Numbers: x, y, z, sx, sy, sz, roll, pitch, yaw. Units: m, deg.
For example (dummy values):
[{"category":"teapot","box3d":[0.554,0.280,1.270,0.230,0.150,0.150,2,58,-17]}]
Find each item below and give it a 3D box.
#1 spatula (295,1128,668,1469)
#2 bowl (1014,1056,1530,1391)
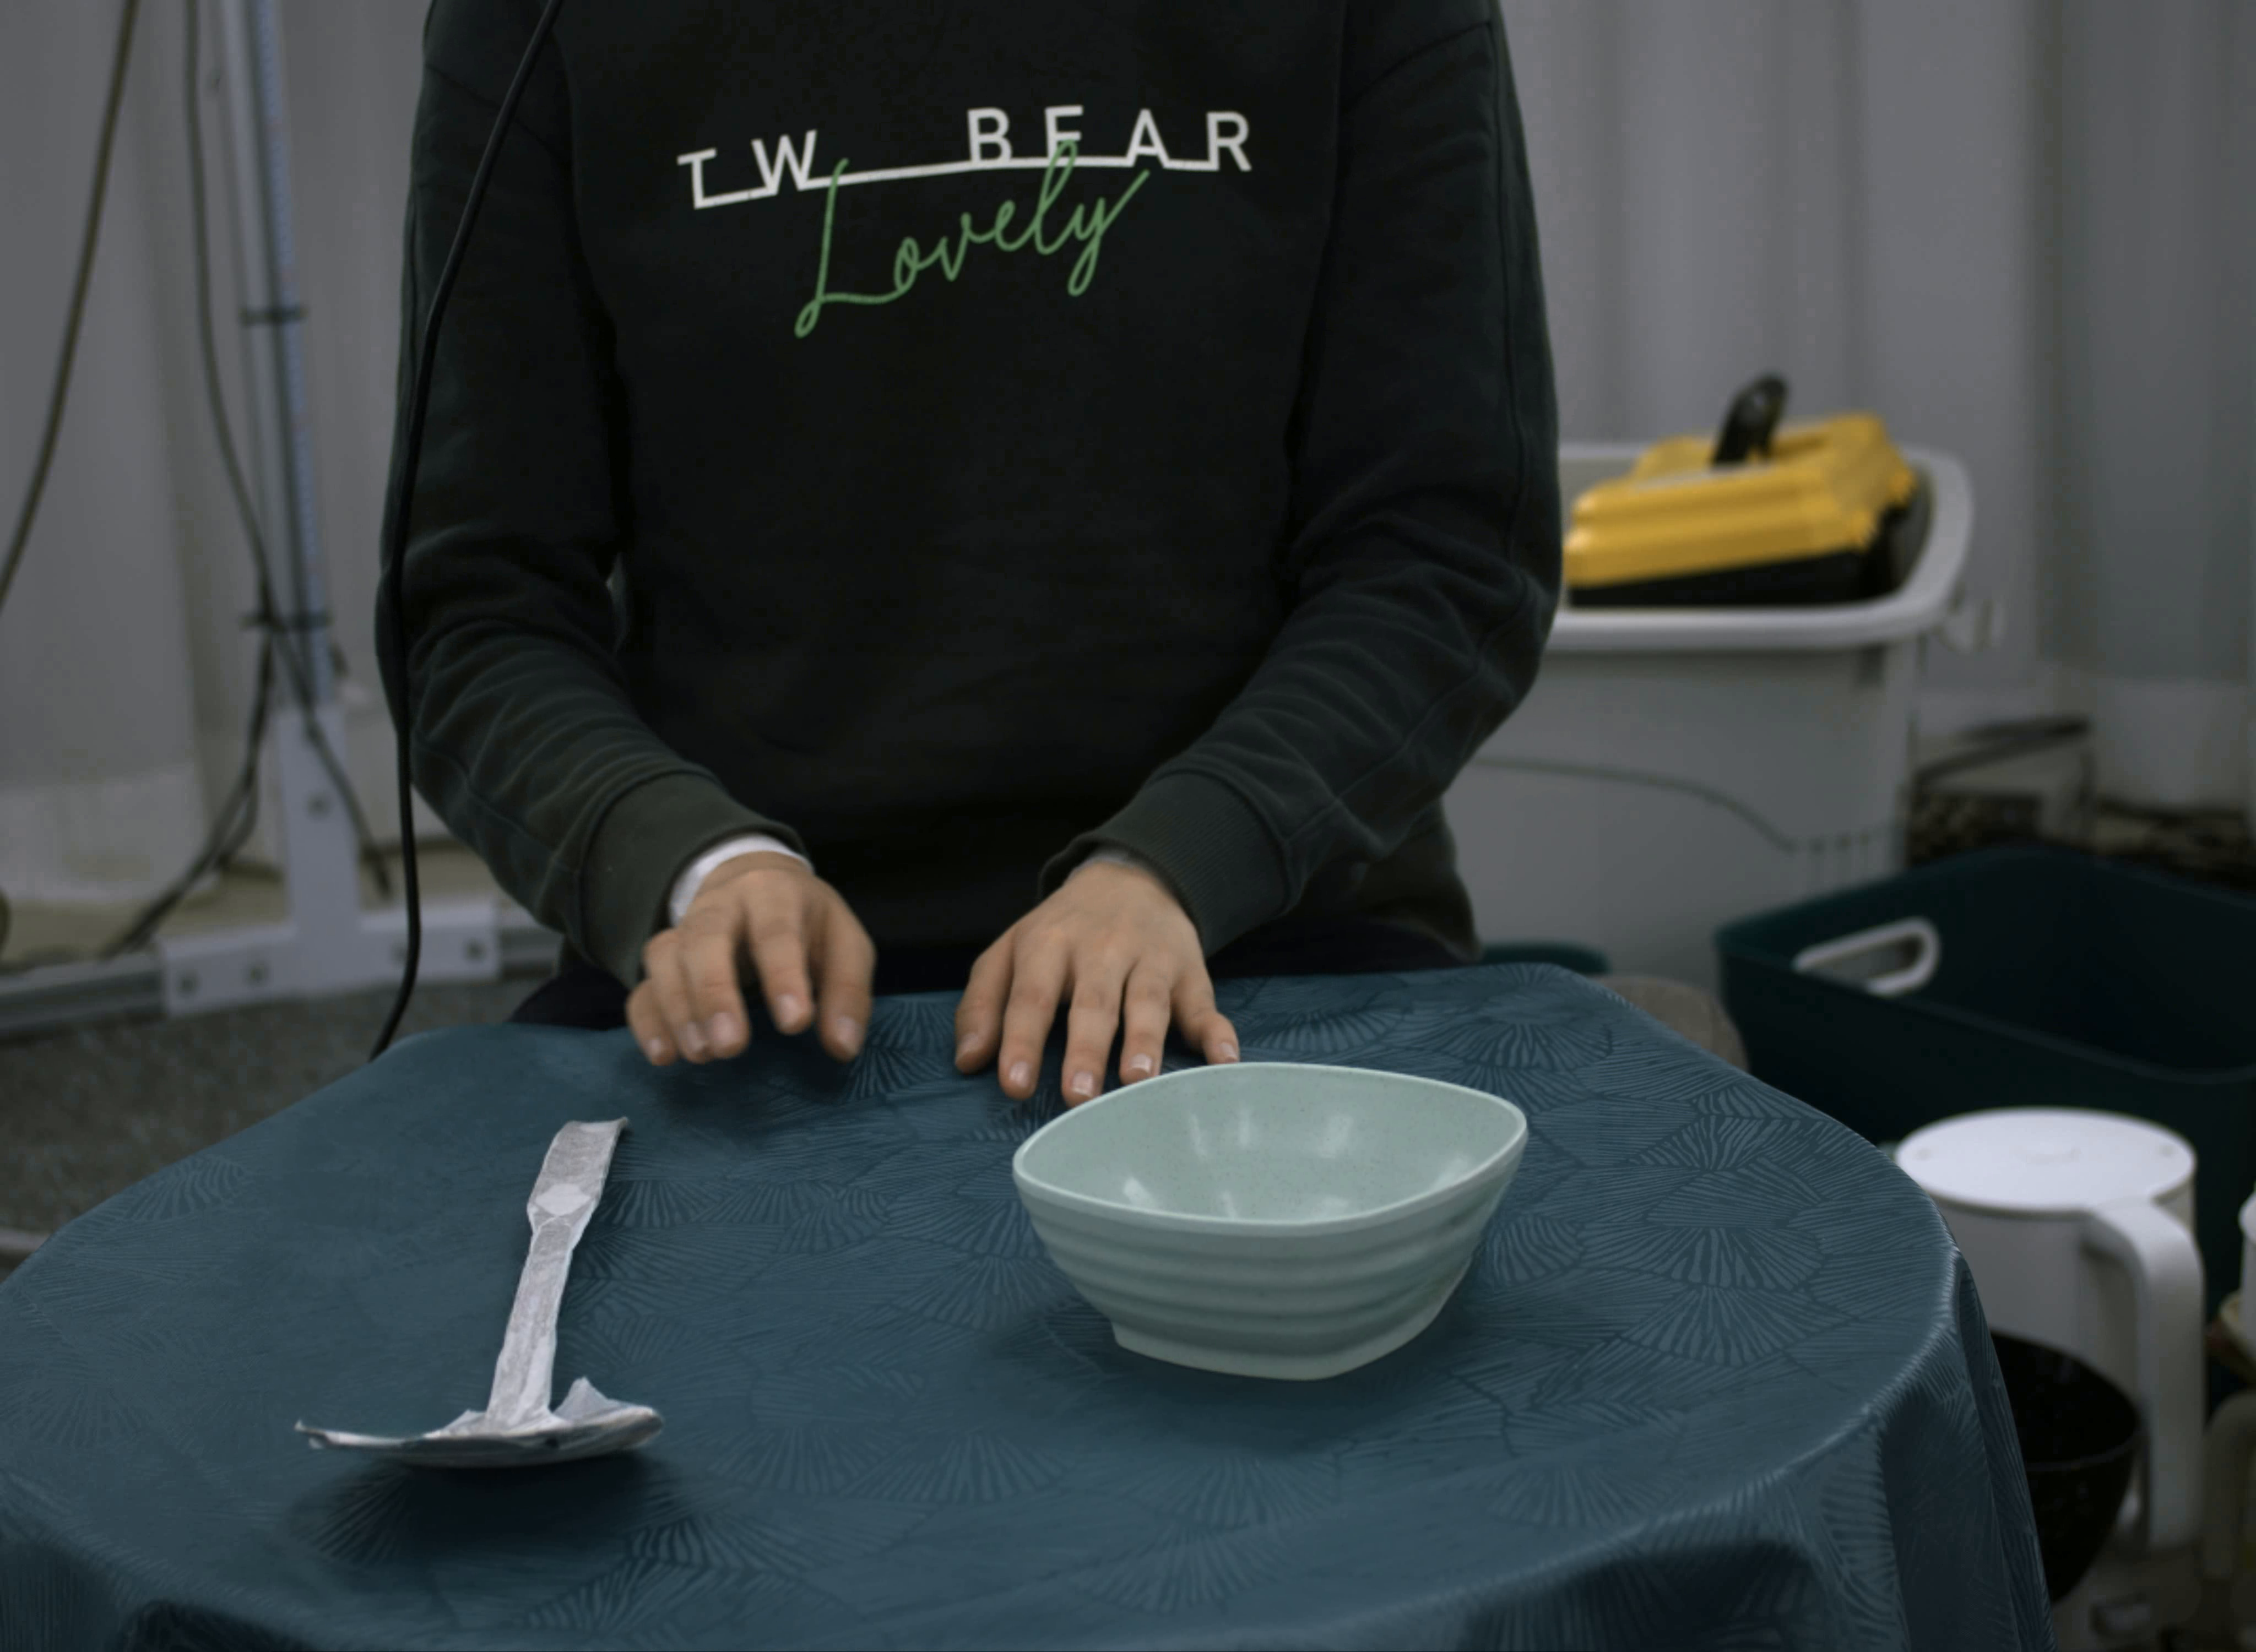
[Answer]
[{"category":"spatula","box3d":[-0.169,0.130,1.613,0.098,0.044,0.367,-4,15,2]},{"category":"bowl","box3d":[0.042,0.119,1.586,0.151,0.058,0.152,-1,17,0]}]
